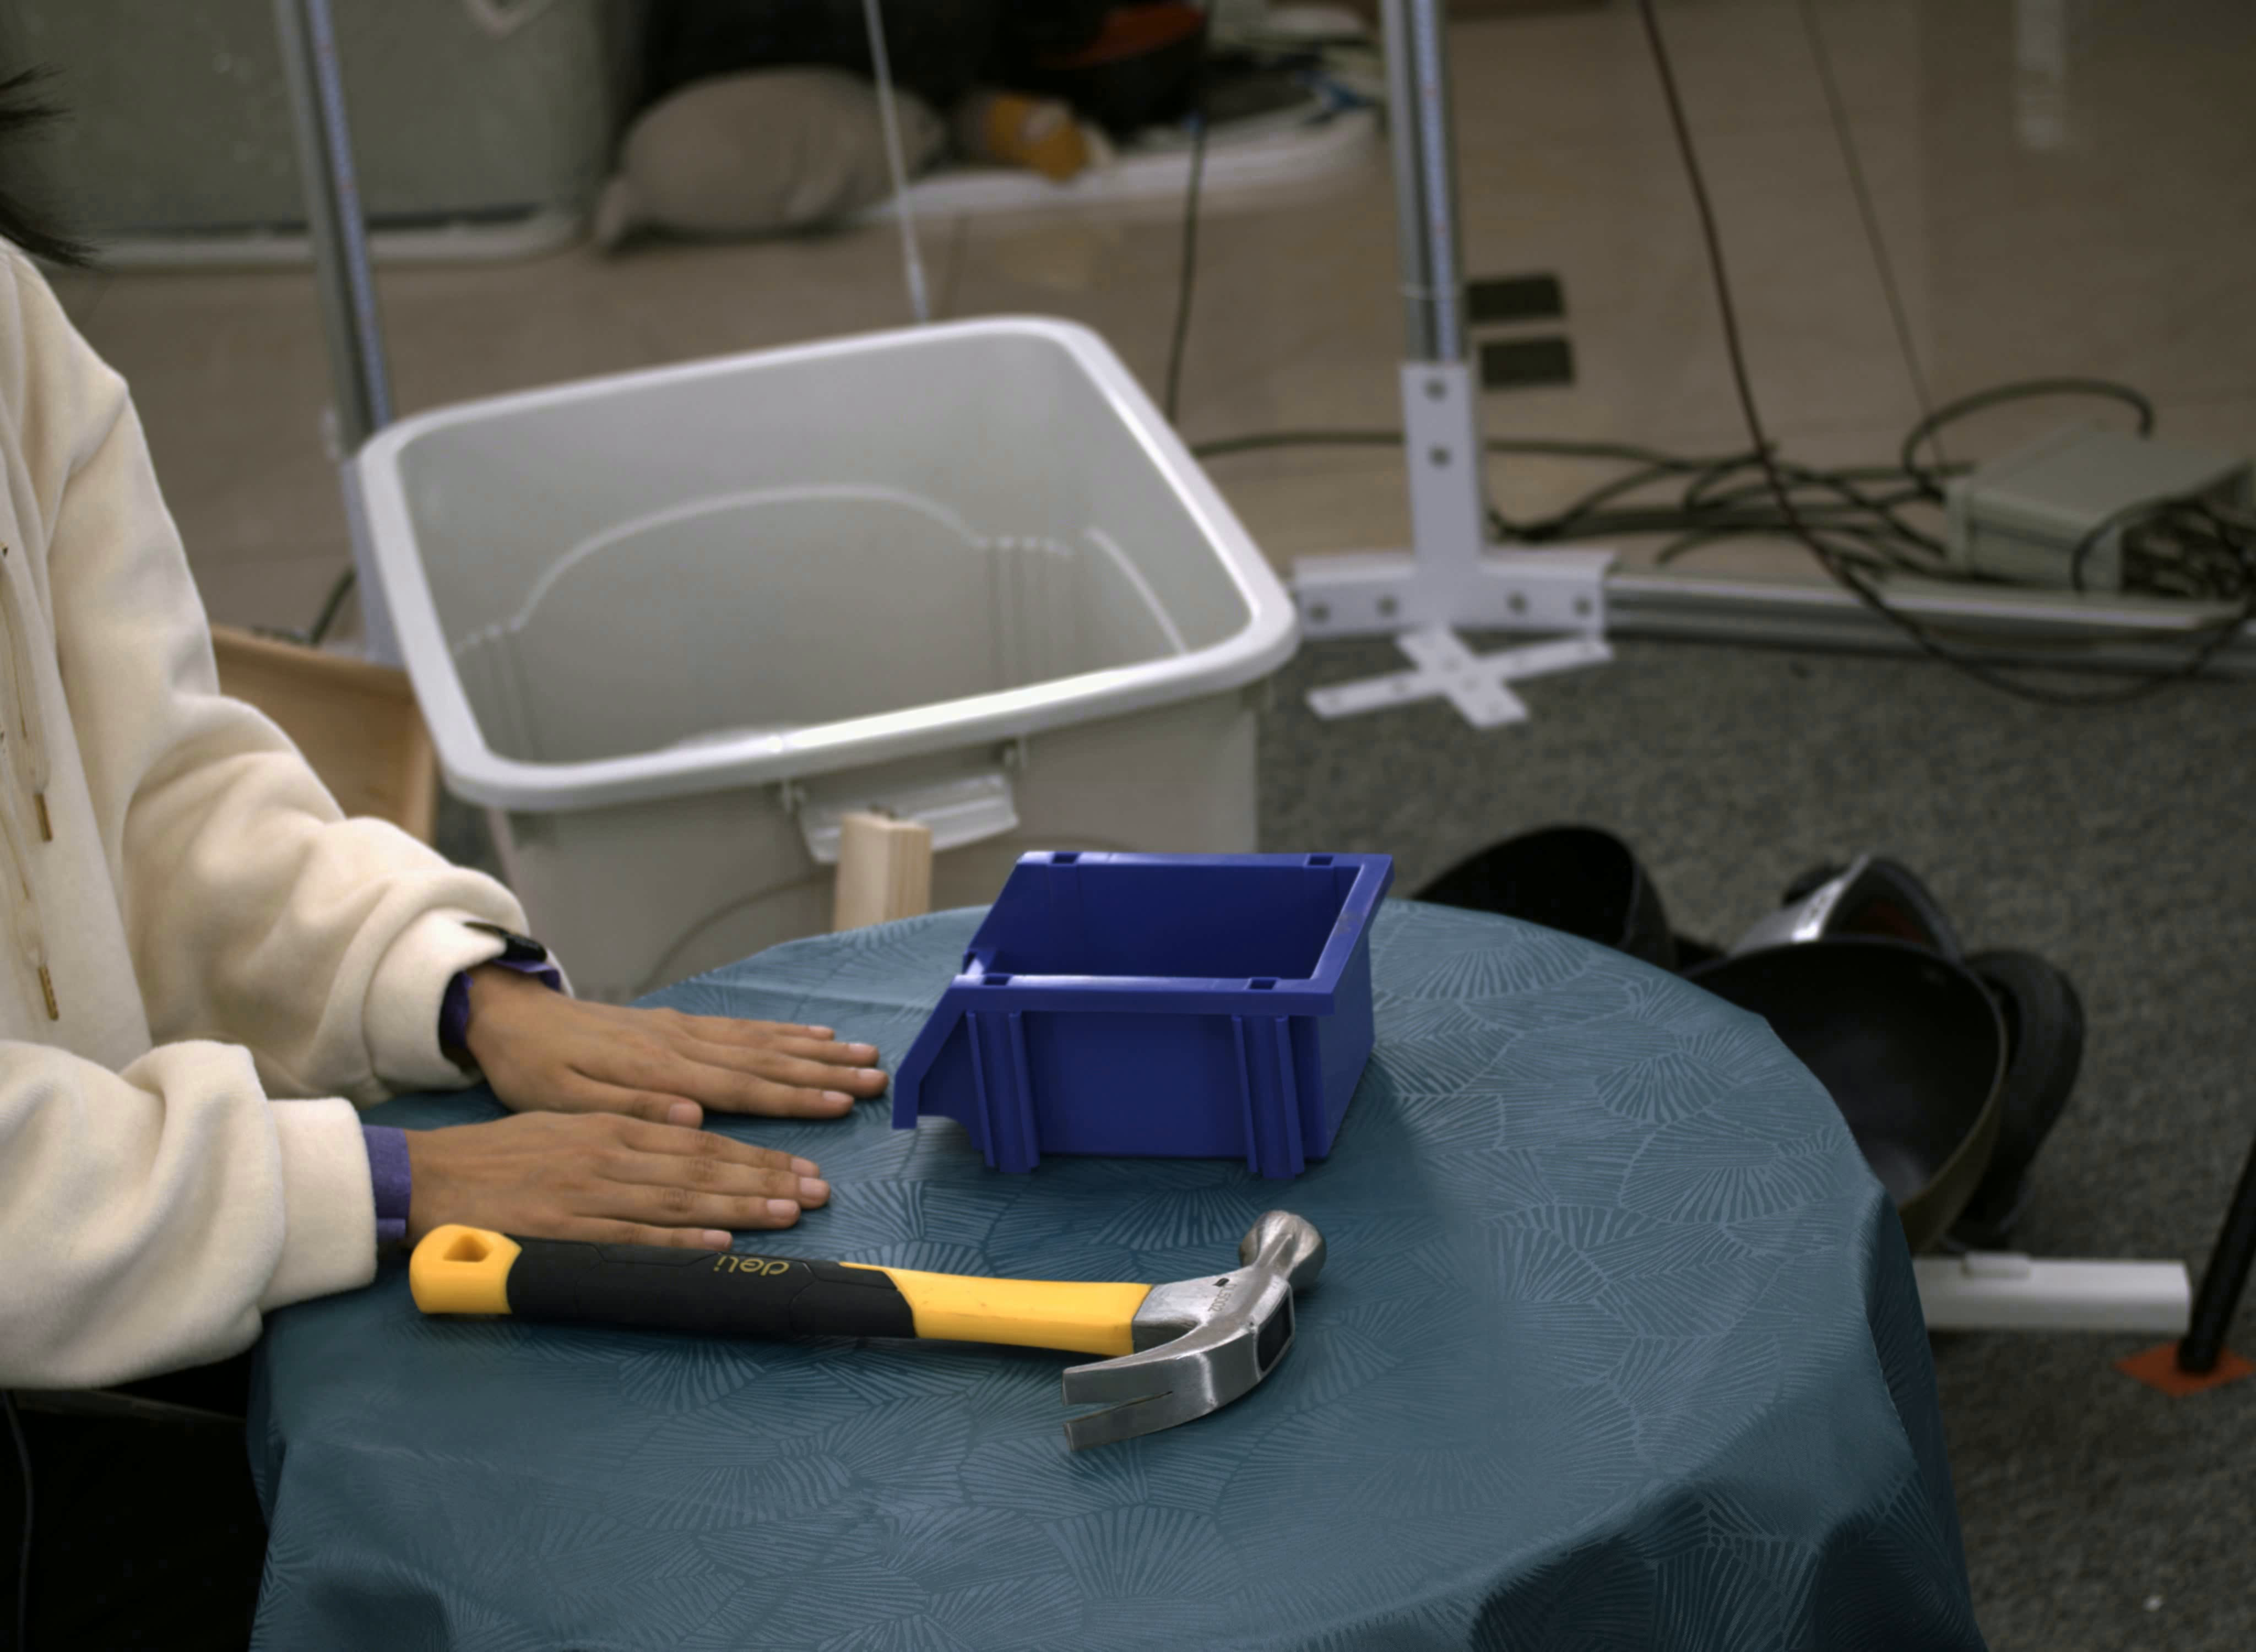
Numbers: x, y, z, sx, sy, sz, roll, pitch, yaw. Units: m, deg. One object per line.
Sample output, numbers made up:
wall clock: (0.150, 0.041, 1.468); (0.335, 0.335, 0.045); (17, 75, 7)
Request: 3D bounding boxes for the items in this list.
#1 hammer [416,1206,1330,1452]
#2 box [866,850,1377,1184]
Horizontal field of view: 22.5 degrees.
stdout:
hammer: (-0.105, 0.170, 2.068); (0.337, 0.033, 0.129); (4, 28, 20)
box: (-0.002, 0.073, 2.195); (0.179, 0.083, 0.123); (3, 27, 15)
